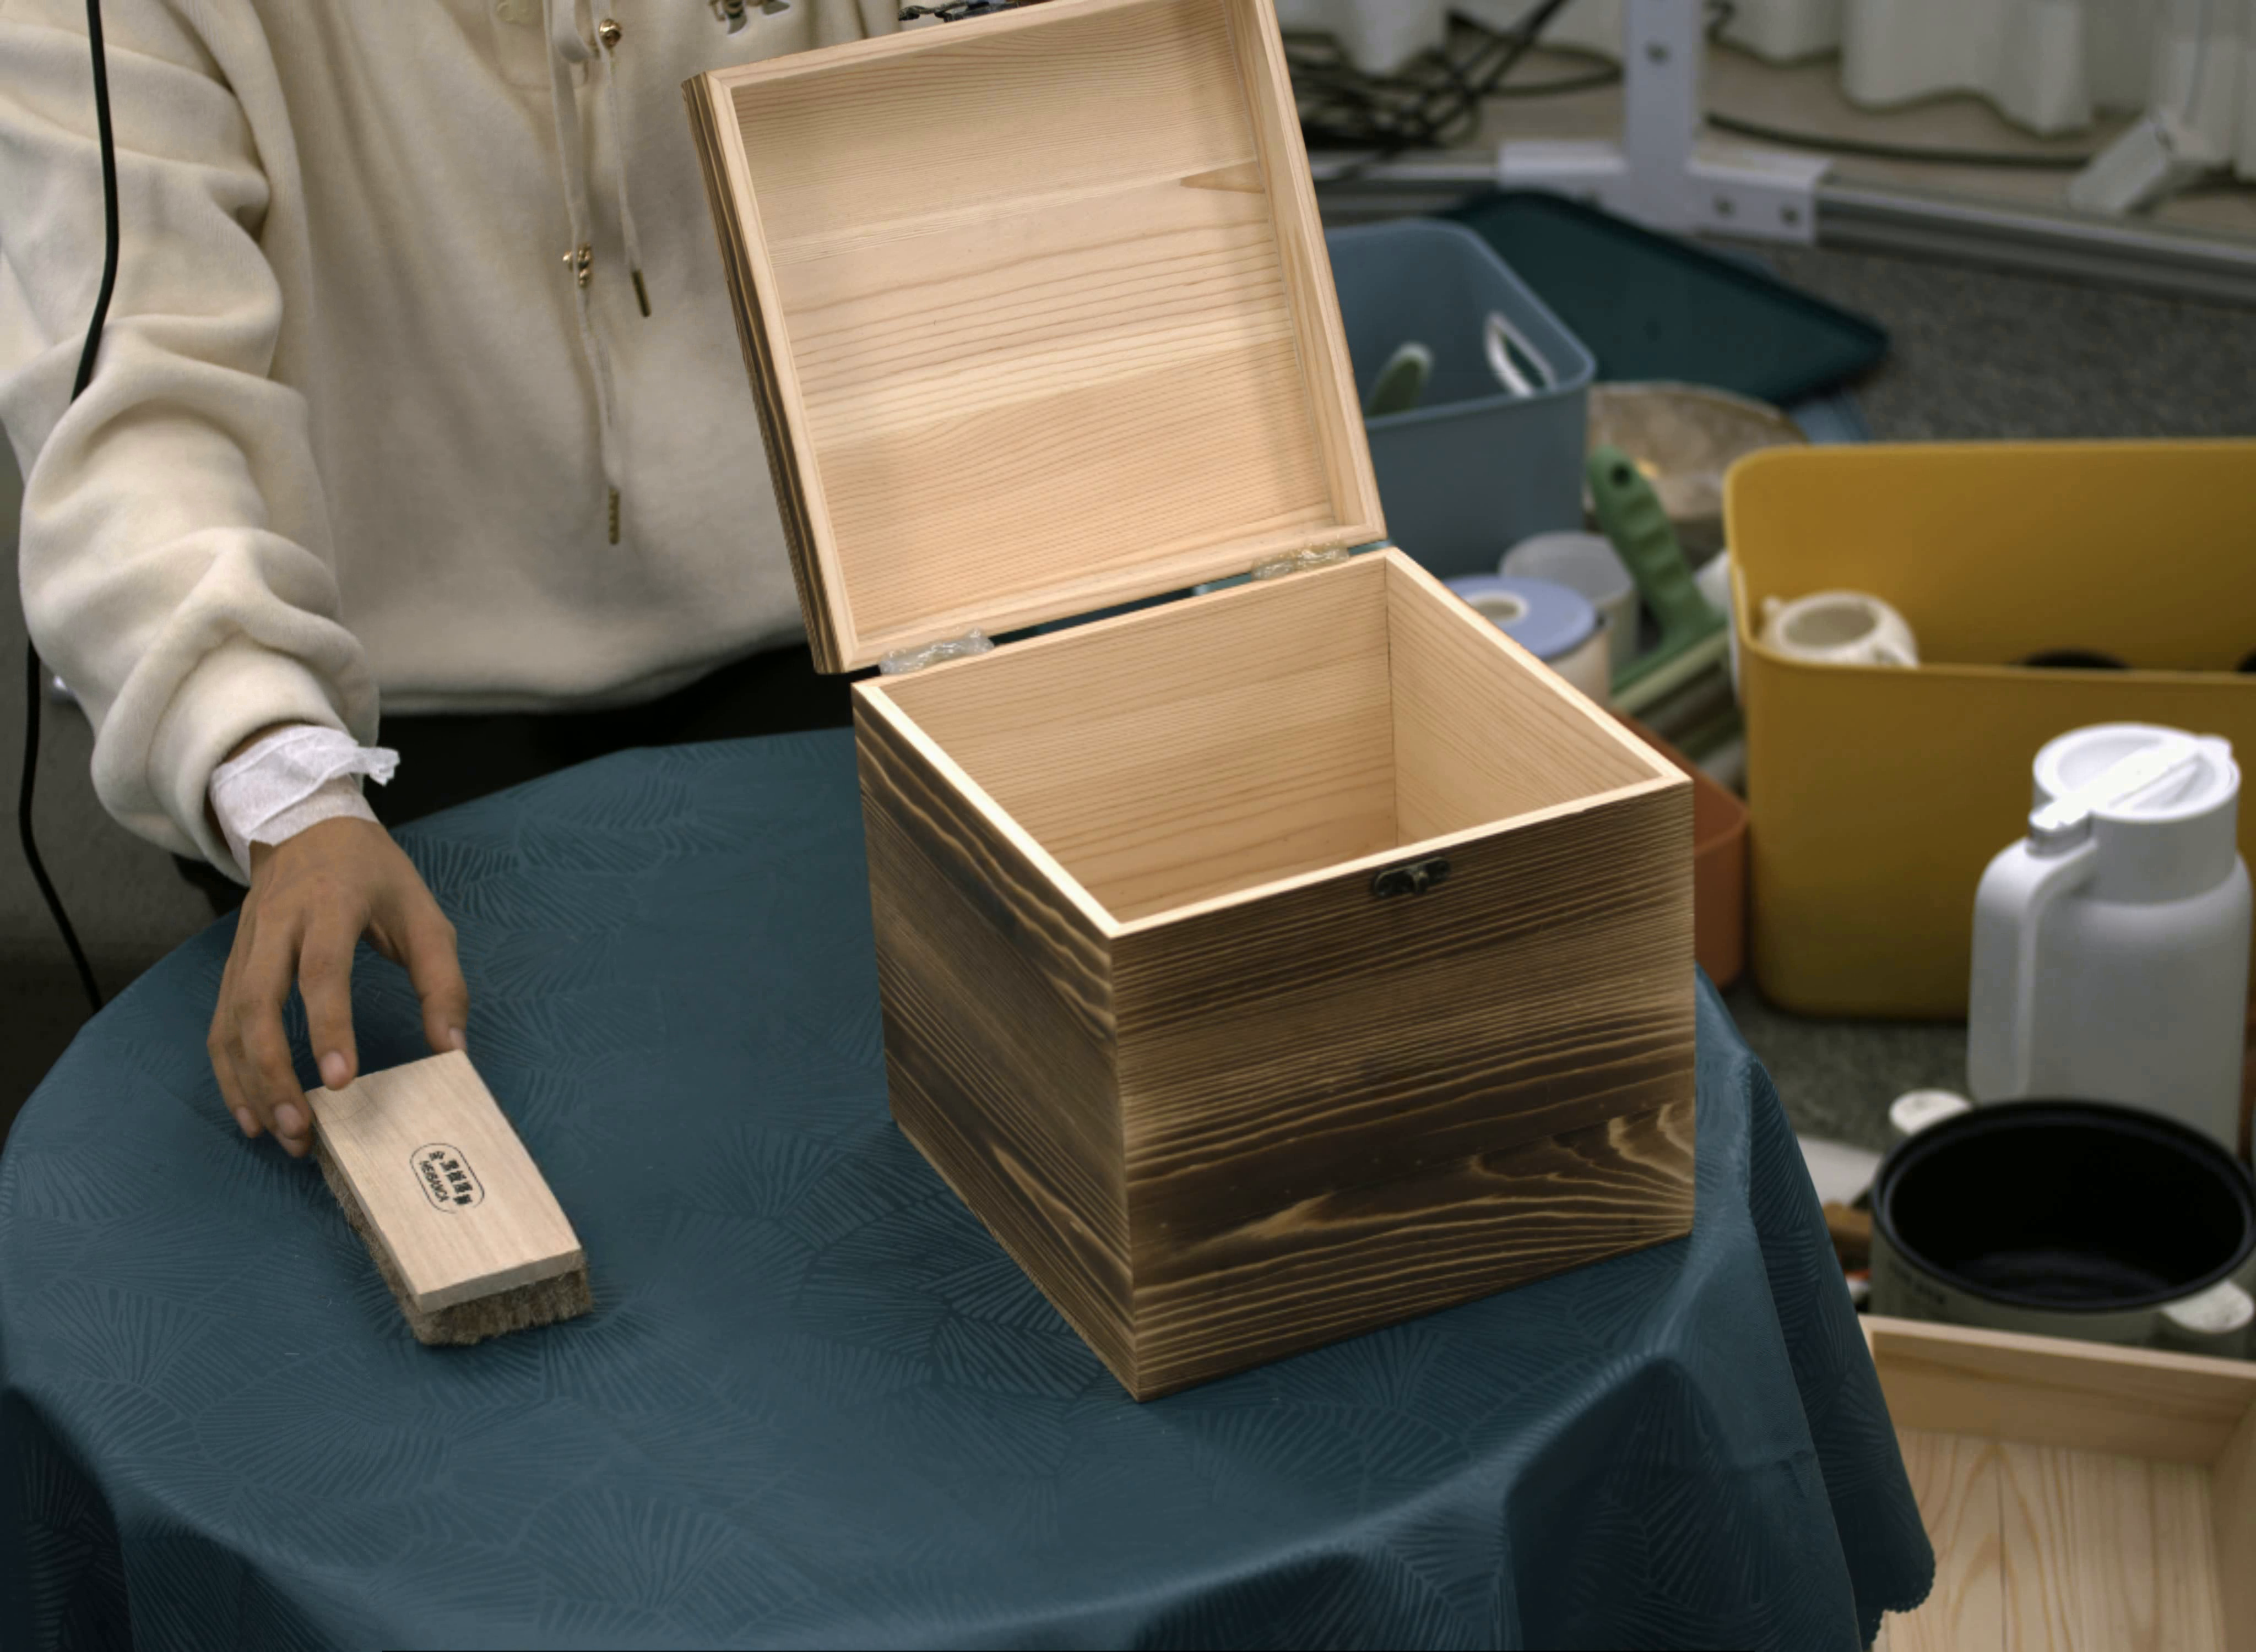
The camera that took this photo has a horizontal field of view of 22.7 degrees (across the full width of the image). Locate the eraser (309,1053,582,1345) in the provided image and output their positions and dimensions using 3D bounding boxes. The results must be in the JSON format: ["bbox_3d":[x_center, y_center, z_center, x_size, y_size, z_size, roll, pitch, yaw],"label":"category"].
[{"bbox_3d":[-0.225,0.124,1.848,0.057,0.028,0.140,-15,29,-16],"label":"eraser"}]

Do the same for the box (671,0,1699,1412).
[{"bbox_3d":[0.017,-0.063,1.827,0.209,0.371,0.324,-15,29,-21],"label":"box"}]
